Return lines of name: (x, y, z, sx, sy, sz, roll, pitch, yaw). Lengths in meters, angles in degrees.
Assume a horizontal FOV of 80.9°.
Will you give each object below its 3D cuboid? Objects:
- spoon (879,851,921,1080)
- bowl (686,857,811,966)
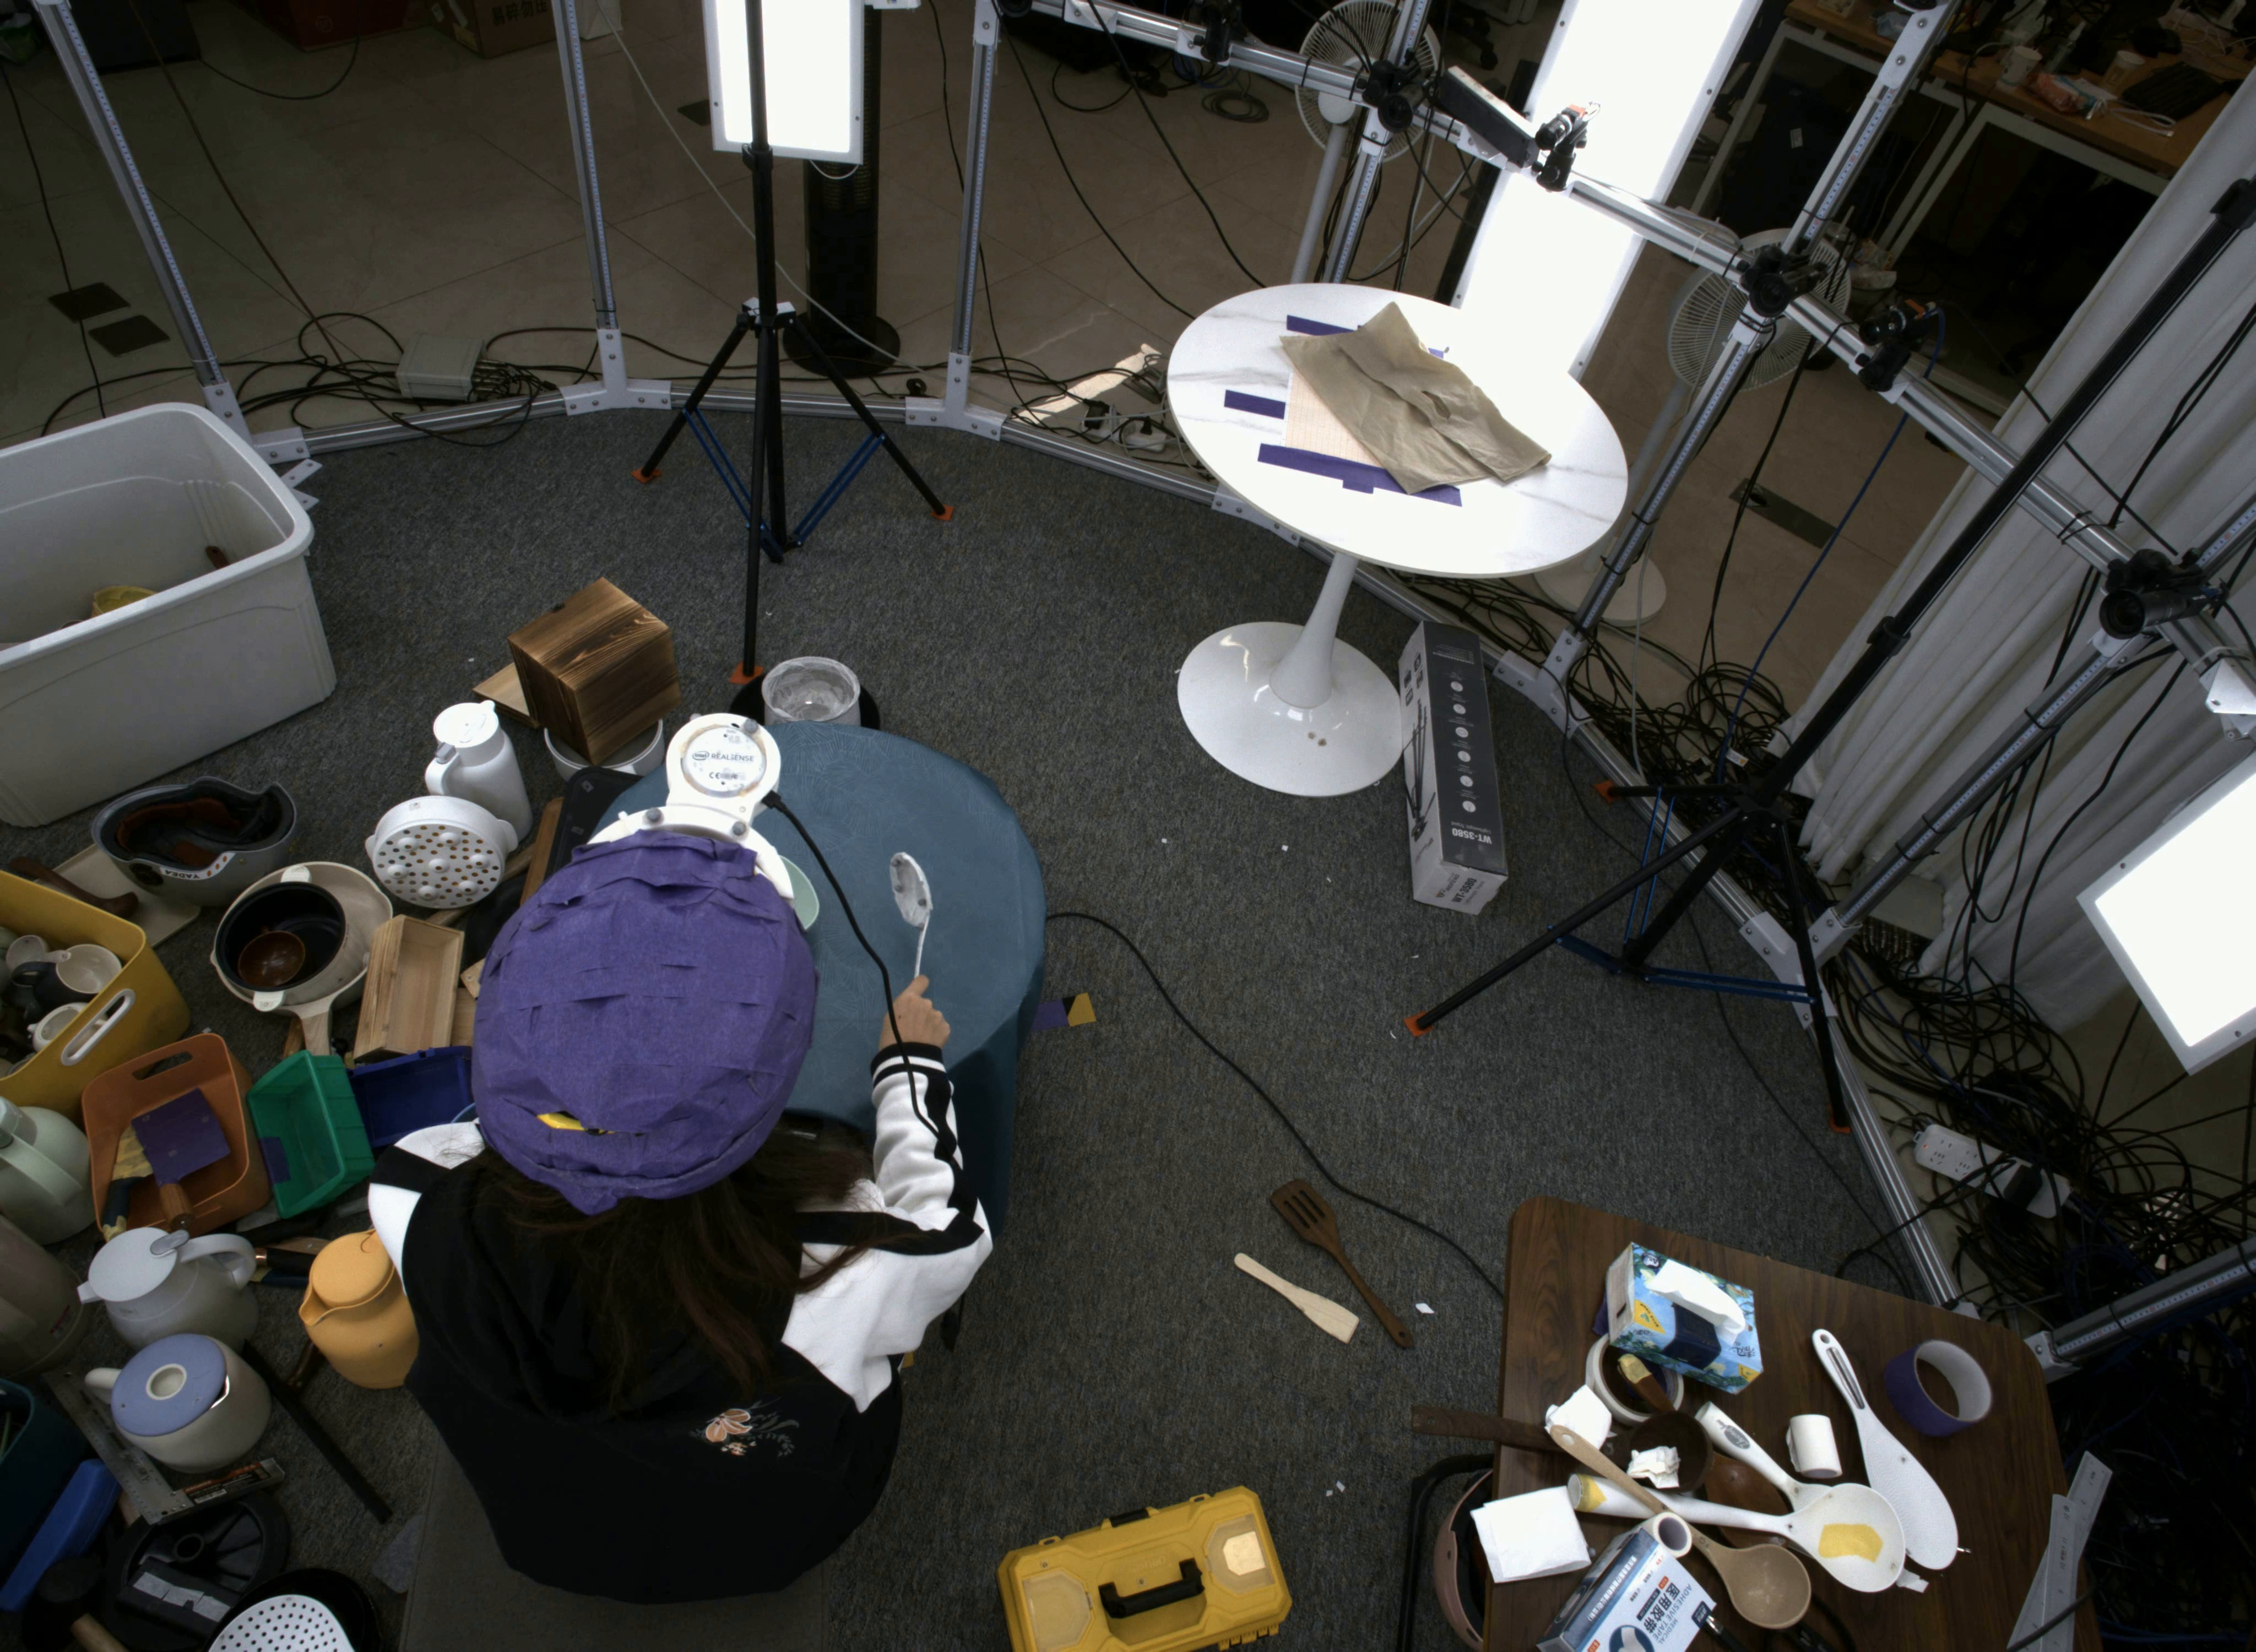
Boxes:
spoon: (-0.284, 0.161, 1.532, 0.060, 0.101, 0.274, 12, 60, -14)
bowl: (-0.465, 0.113, 1.590, 0.151, 0.060, 0.149, 8, 52, -8)
